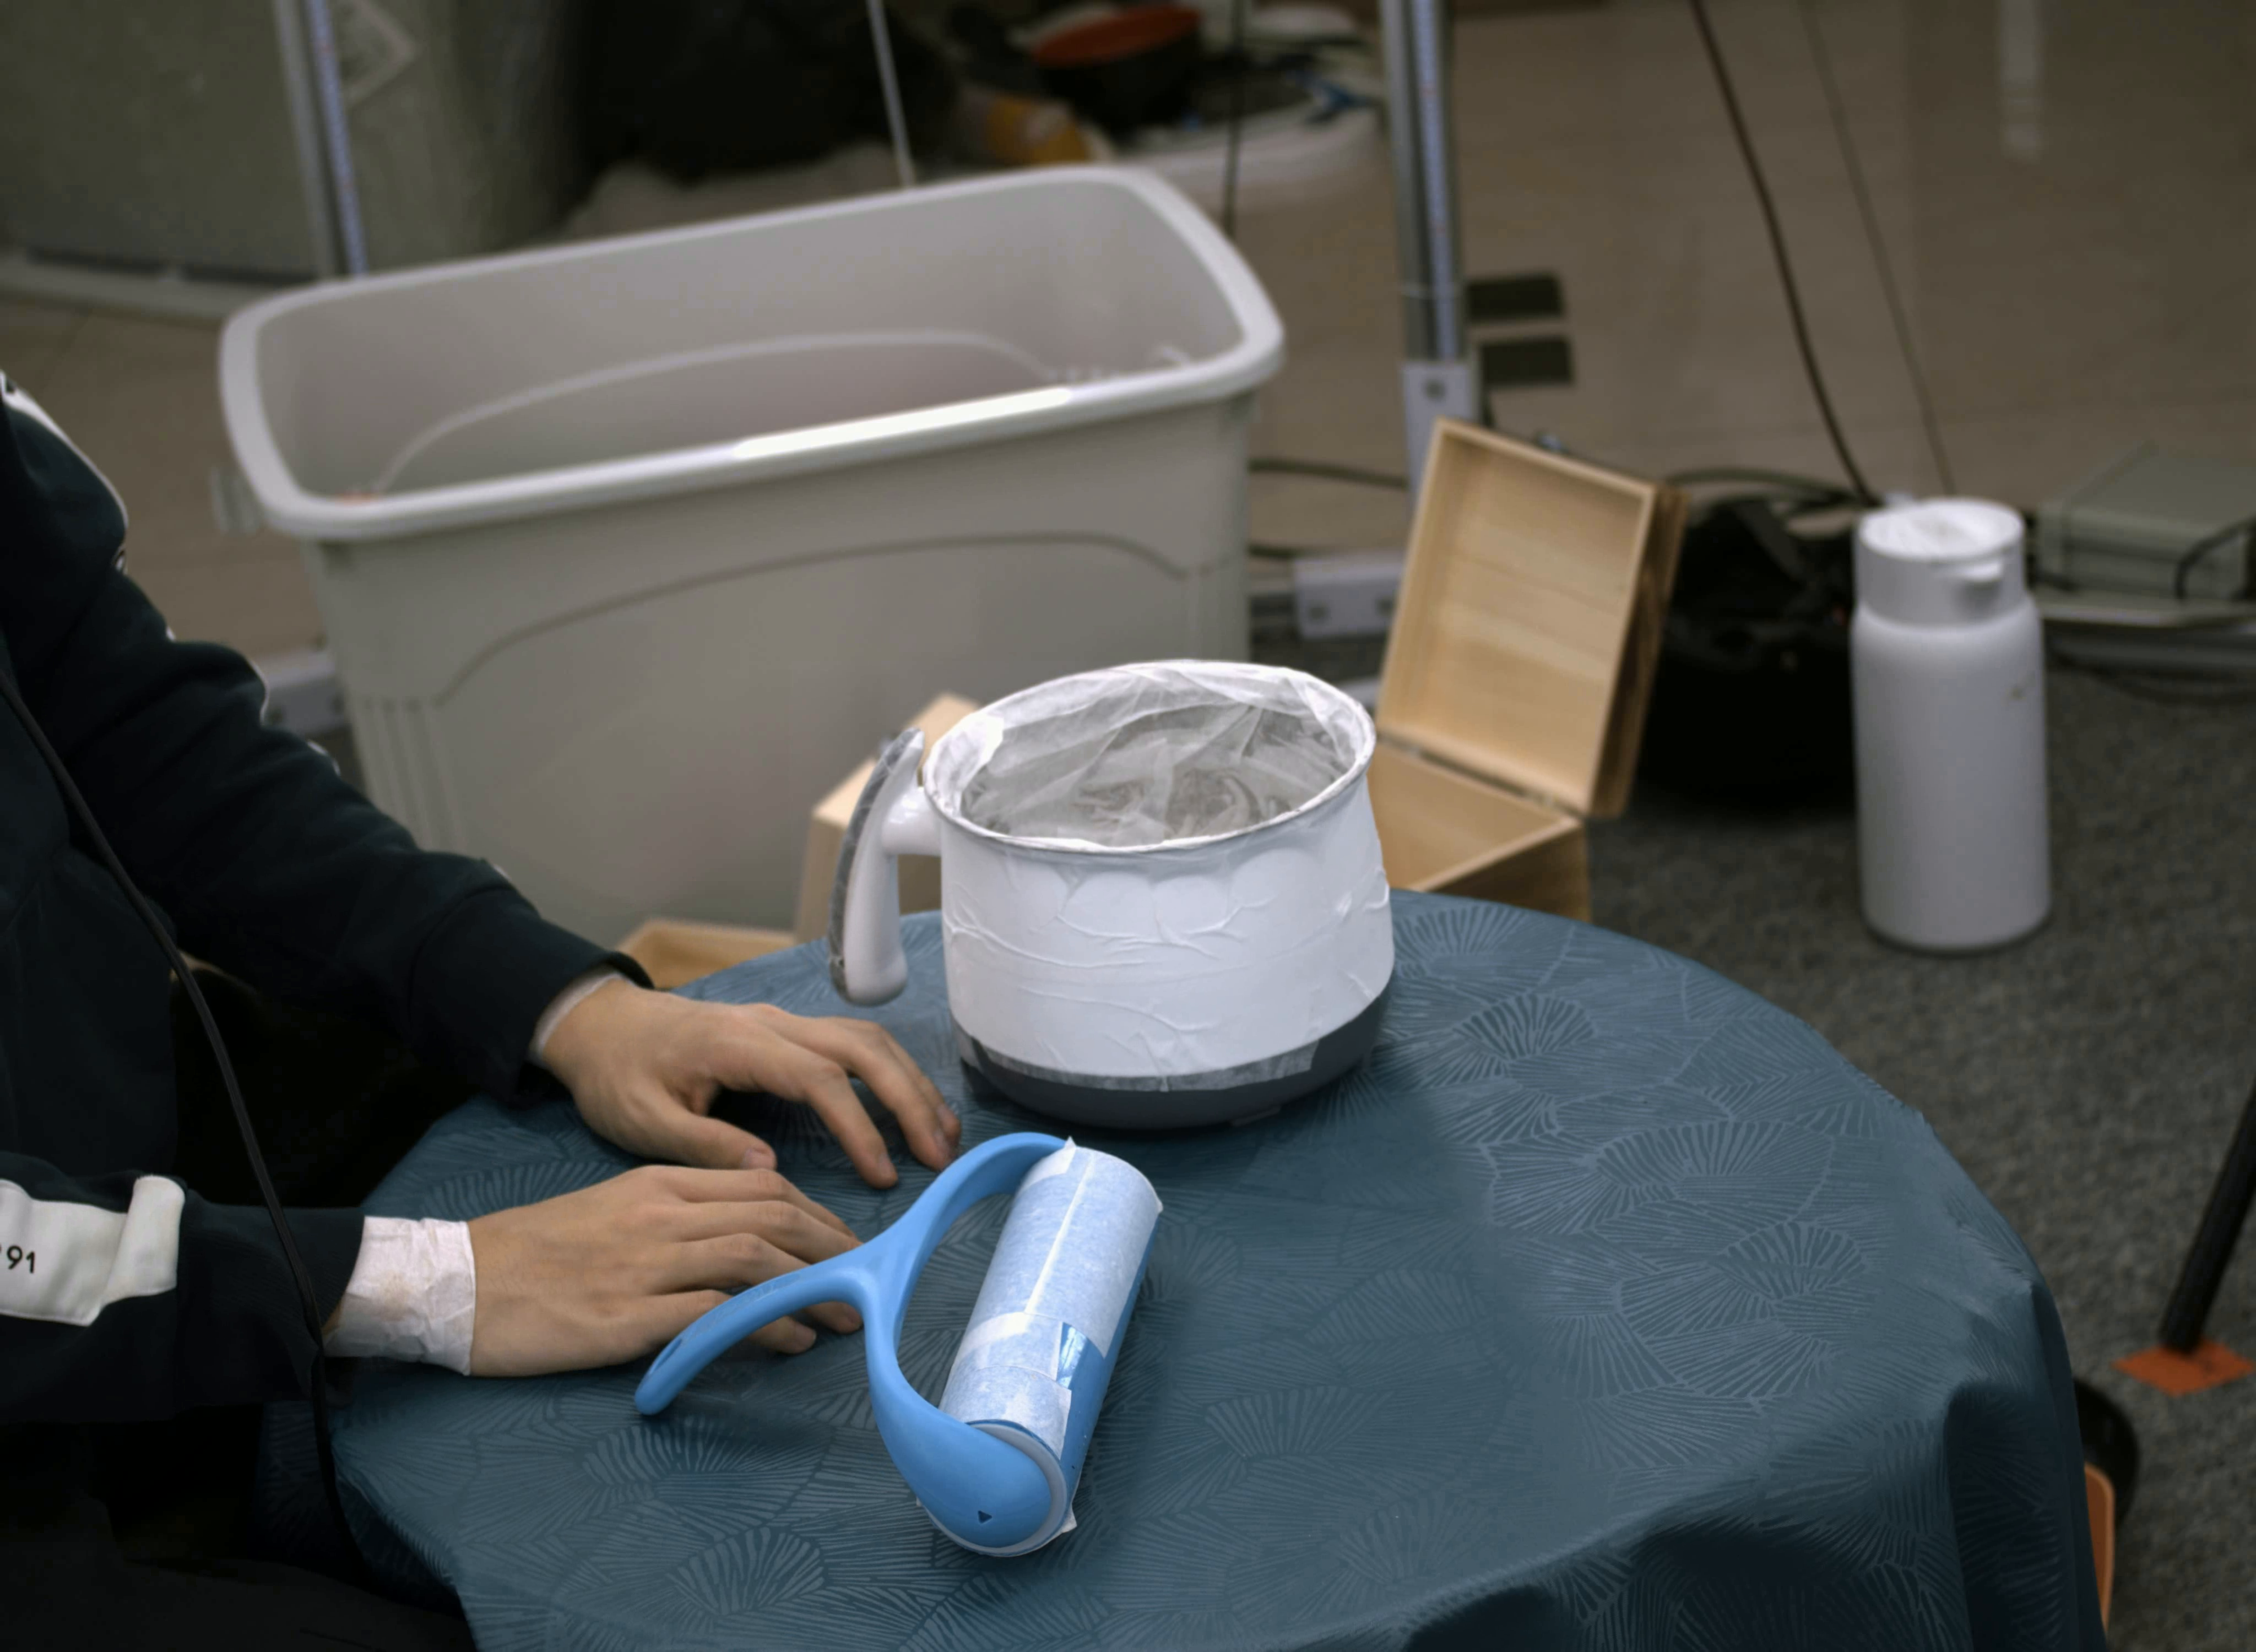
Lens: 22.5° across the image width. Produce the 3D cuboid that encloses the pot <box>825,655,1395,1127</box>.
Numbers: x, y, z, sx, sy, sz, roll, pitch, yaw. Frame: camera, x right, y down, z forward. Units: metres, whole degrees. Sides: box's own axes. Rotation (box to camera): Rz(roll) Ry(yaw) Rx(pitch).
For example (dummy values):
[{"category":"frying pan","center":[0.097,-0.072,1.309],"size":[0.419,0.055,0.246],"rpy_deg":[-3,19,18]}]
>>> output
[{"category":"pot","center":[-0.012,0.025,2.221],"size":[0.233,0.139,0.176],"rpy_deg":[4,27,19]}]

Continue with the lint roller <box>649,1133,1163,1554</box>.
[{"category":"lint roller","center":[-0.085,0.183,2.003],"size":[0.180,0.069,0.225],"rpy_deg":[-2,27,7]}]
